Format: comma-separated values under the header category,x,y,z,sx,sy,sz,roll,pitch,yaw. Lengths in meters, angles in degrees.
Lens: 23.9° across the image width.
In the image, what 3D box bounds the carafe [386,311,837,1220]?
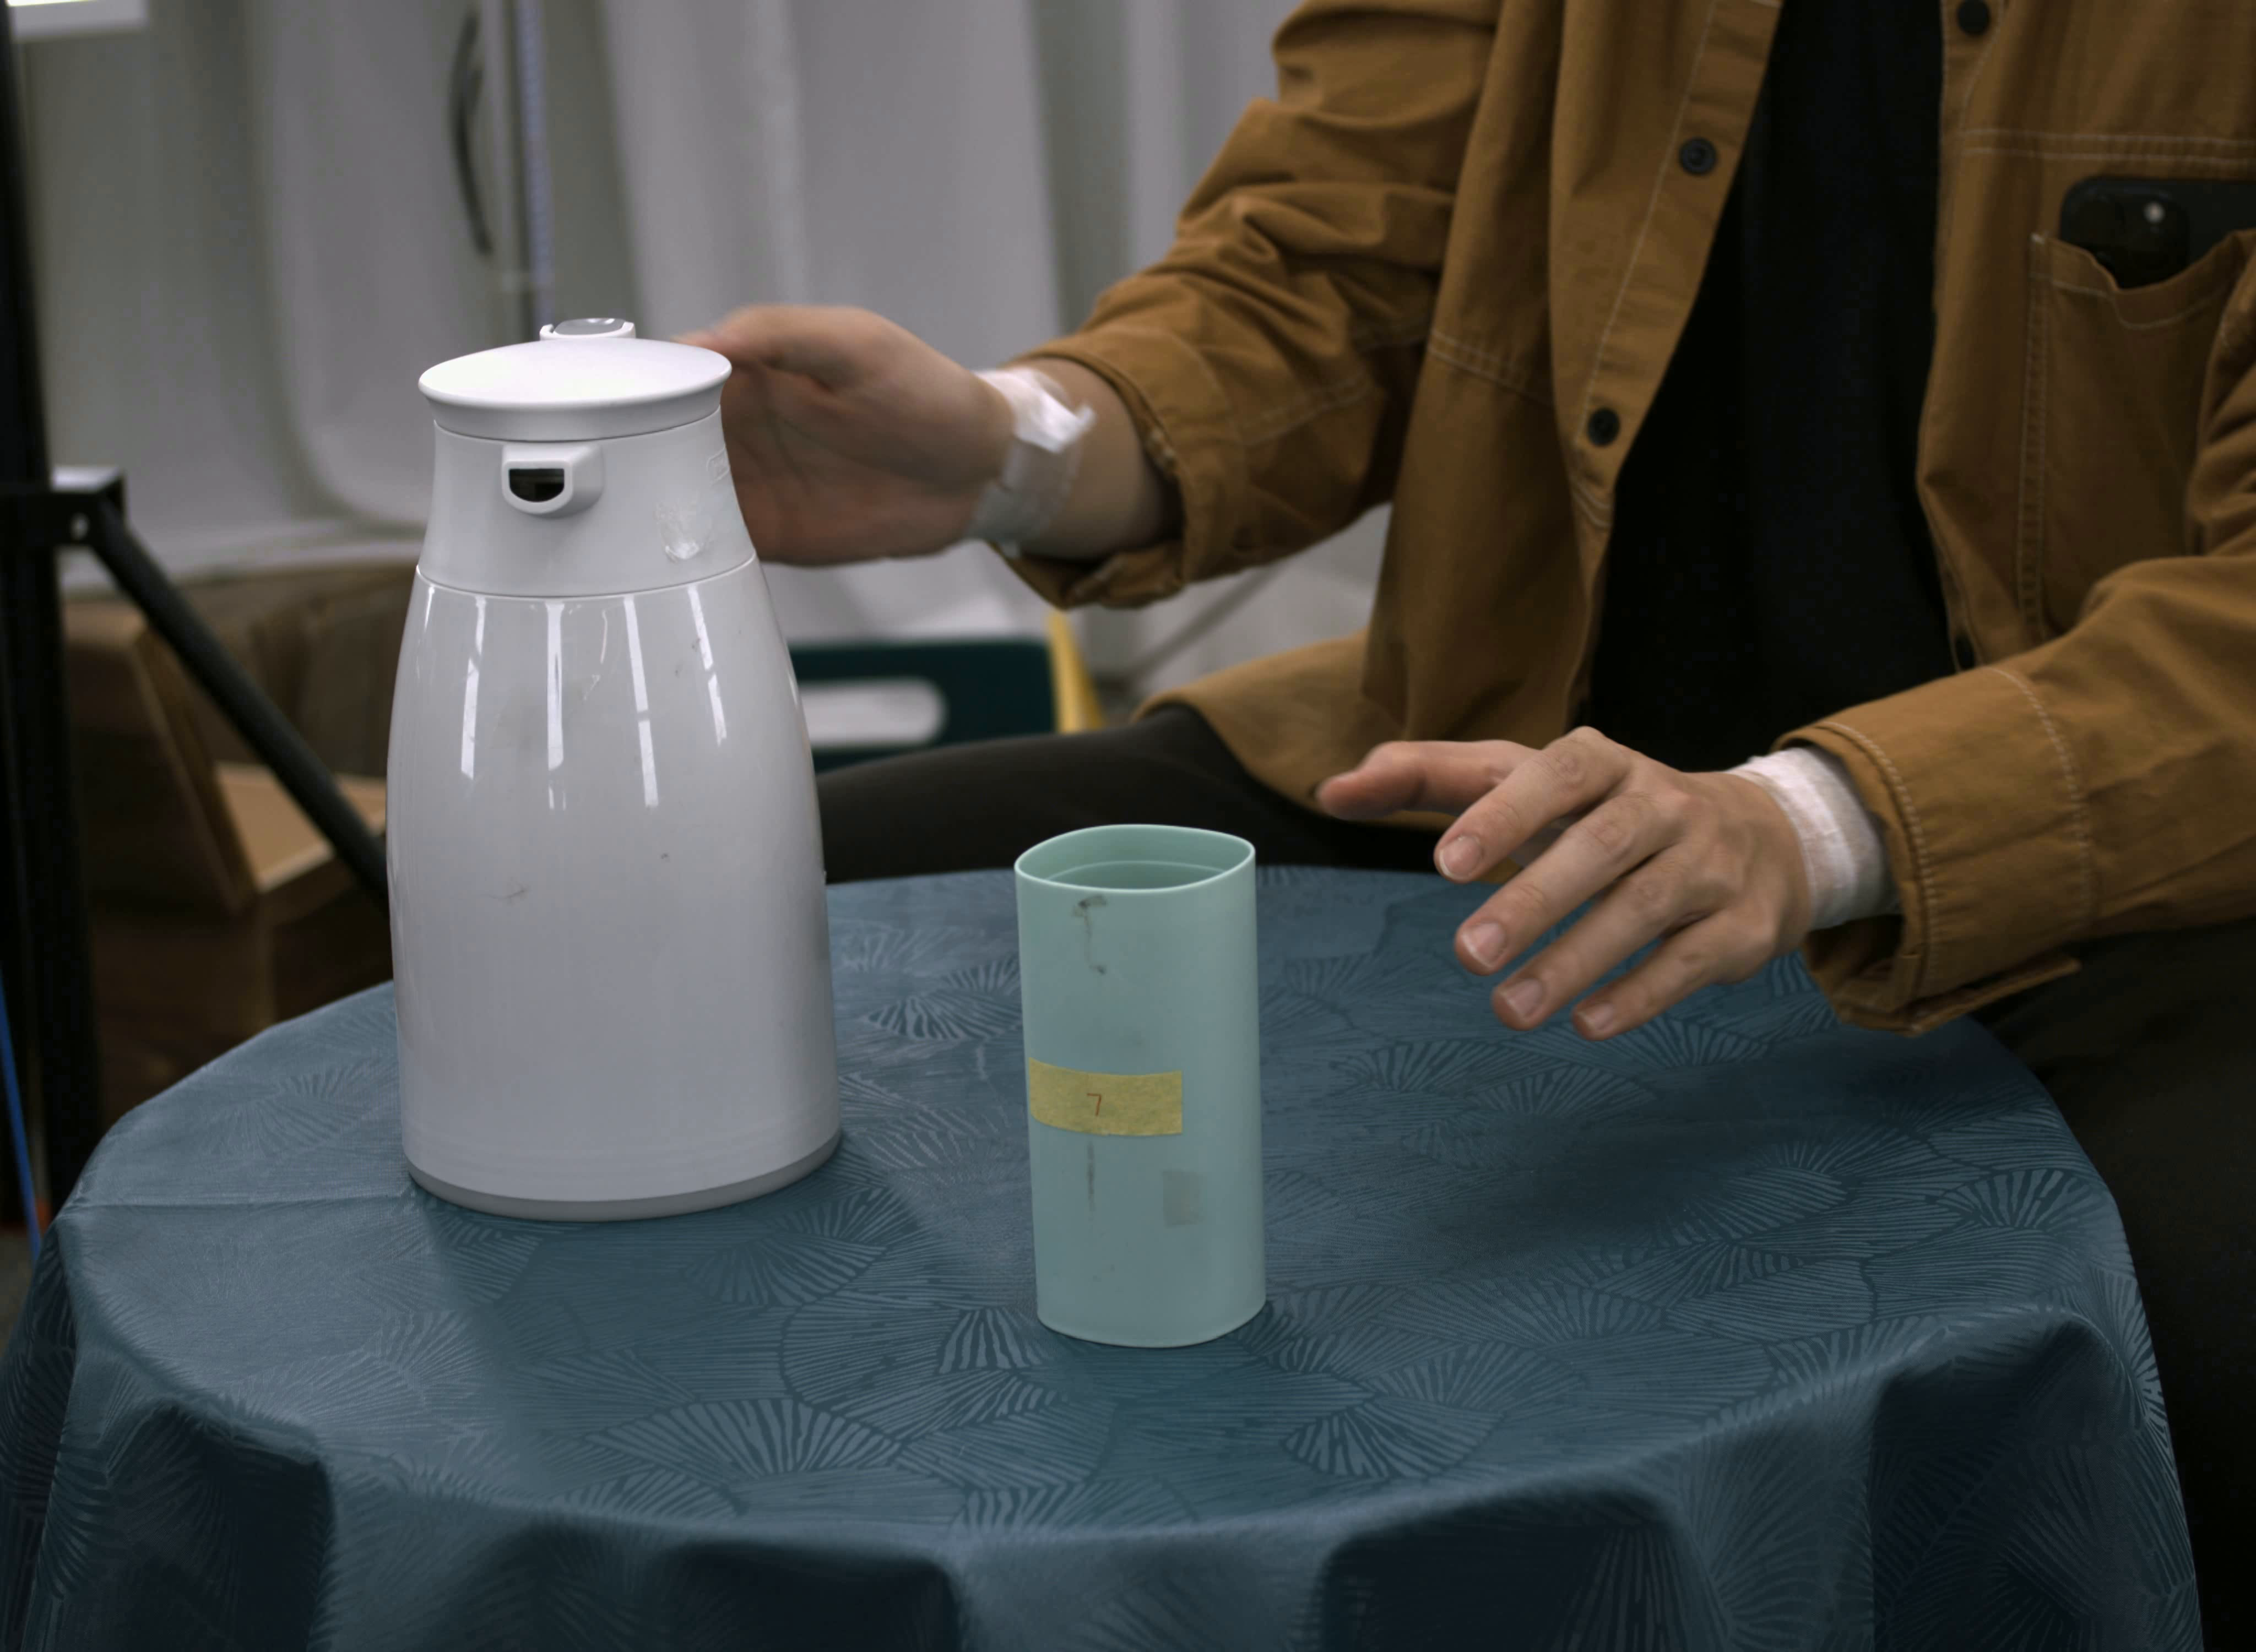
category,x,y,z,sx,sy,sz,roll,pitch,yaw
carafe,-0.157,-0.026,1.603,0.132,0.248,0.167,-1,15,6

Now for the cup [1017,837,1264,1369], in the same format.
category,x,y,z,sx,sy,sz,roll,pitch,yaw
cup,0.006,0.074,1.447,0.066,0.132,0.067,-2,15,-1
